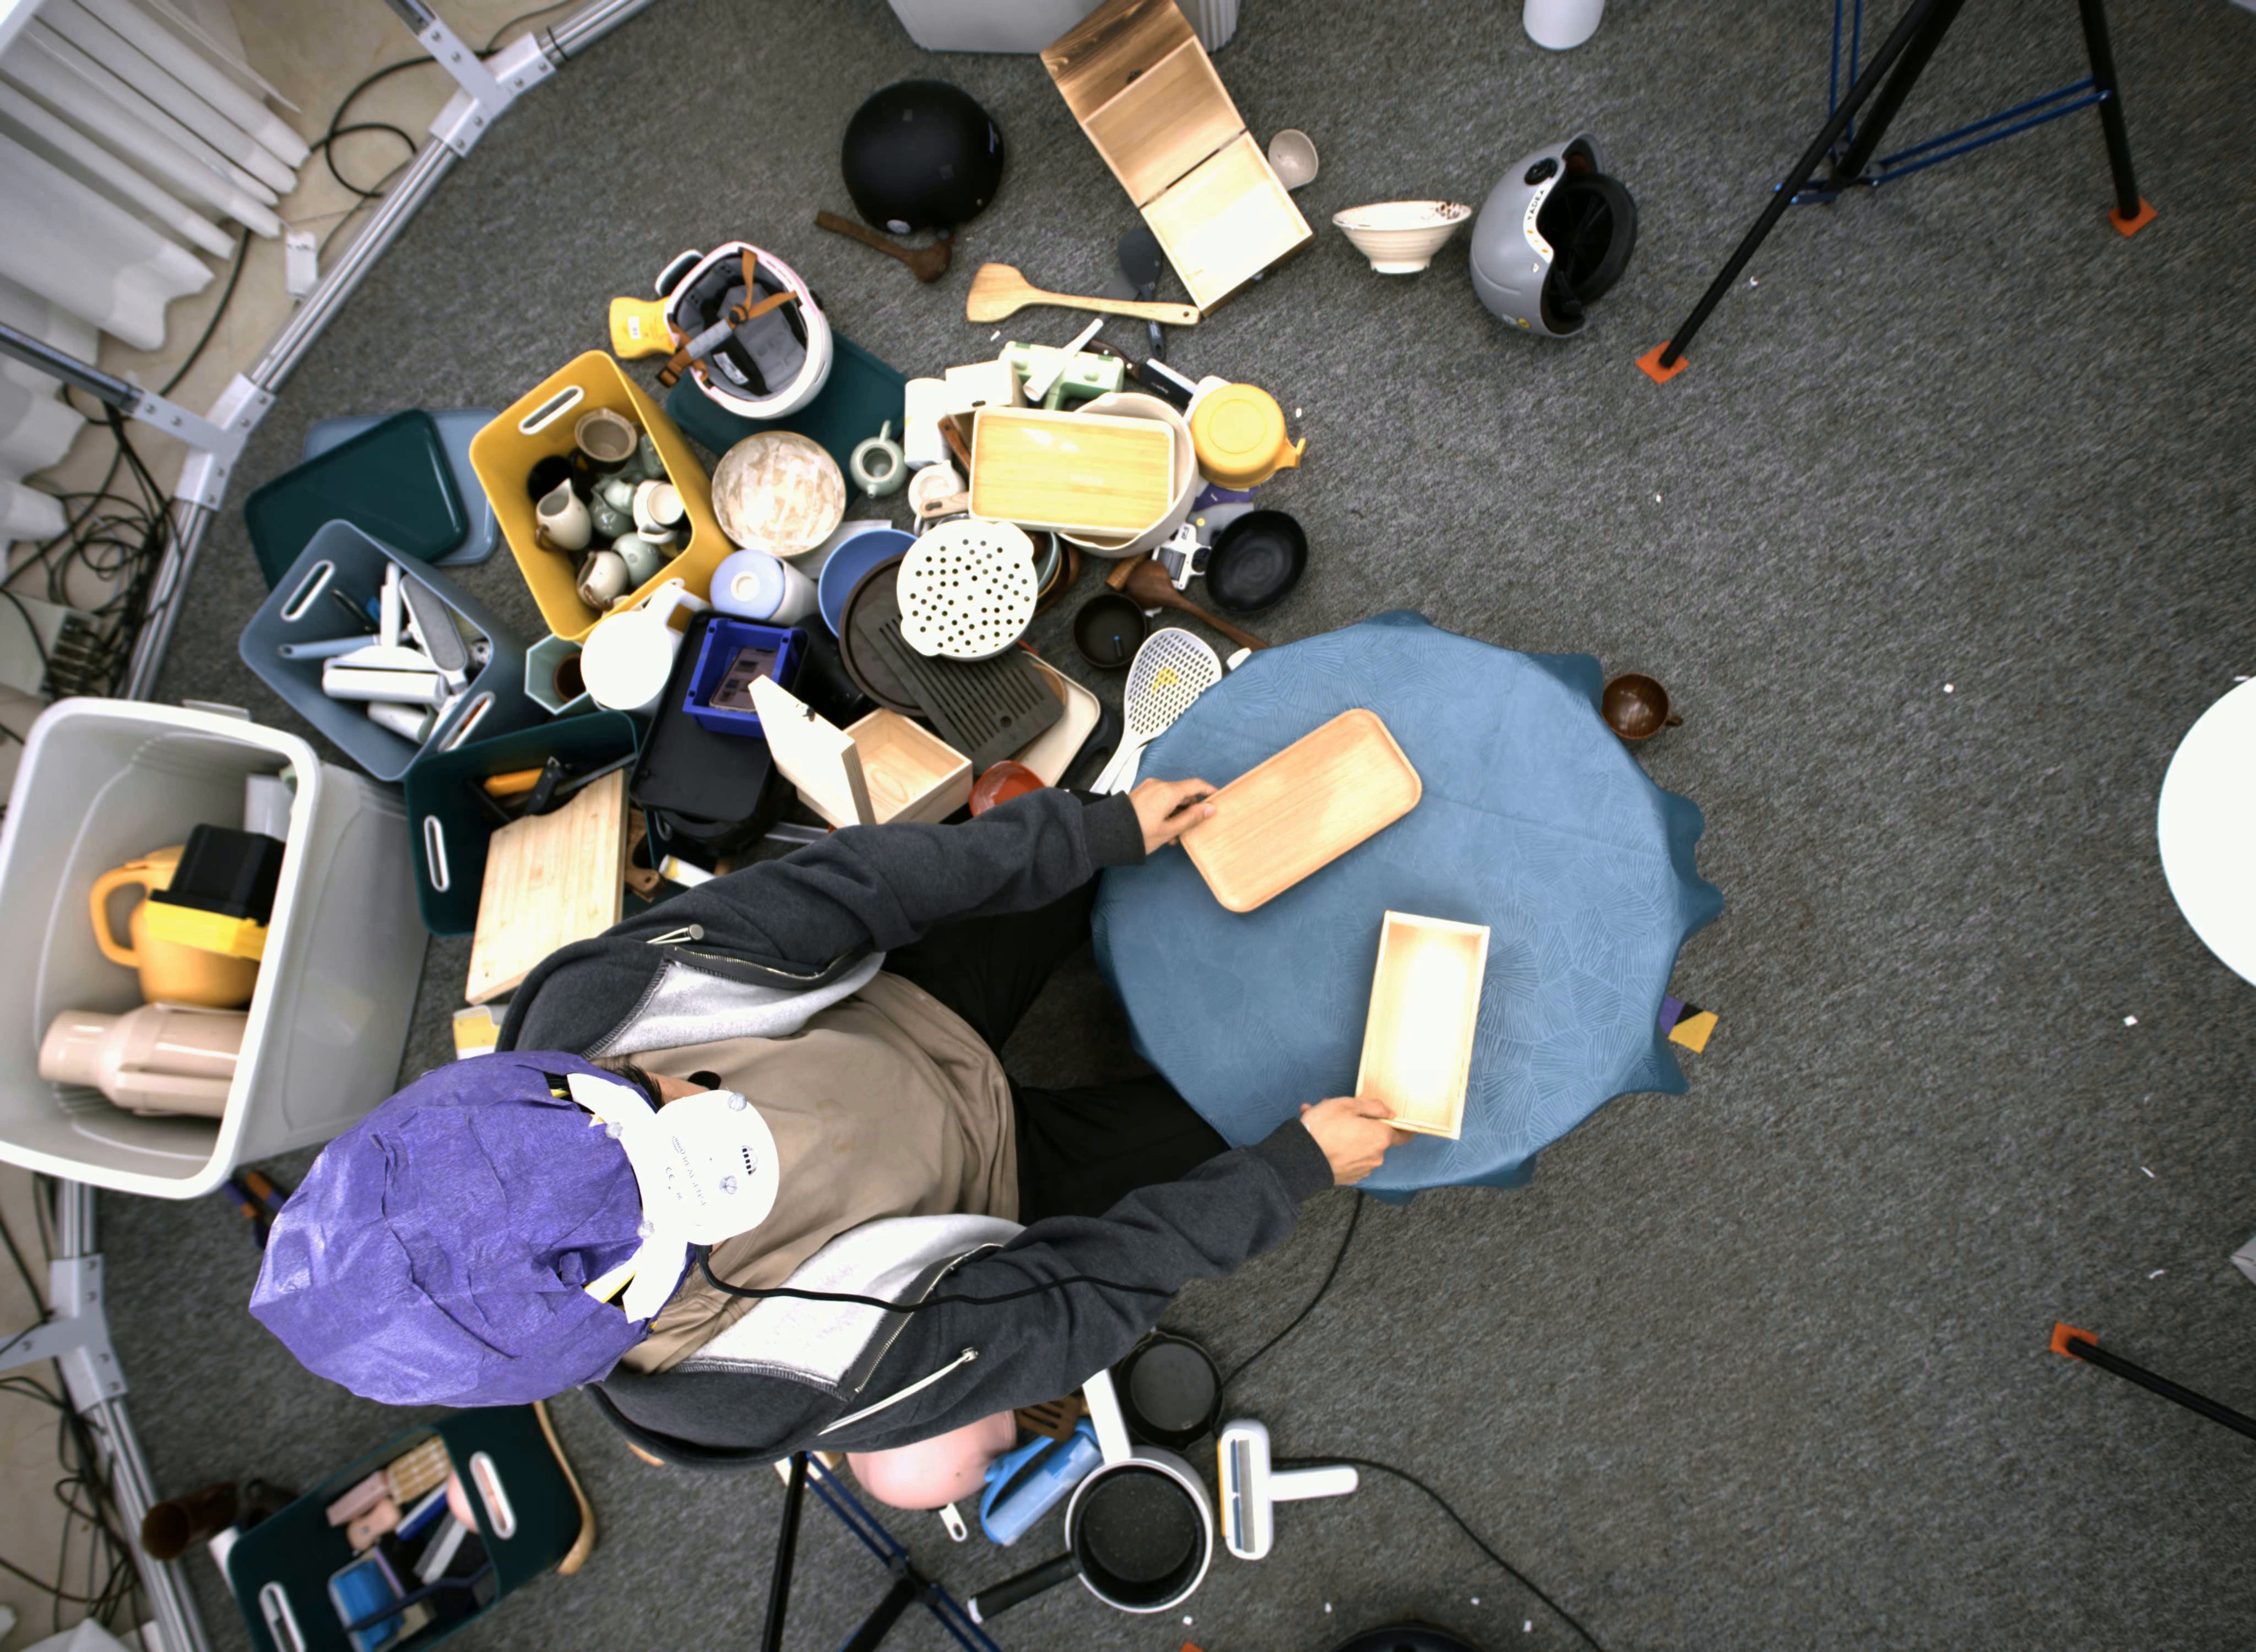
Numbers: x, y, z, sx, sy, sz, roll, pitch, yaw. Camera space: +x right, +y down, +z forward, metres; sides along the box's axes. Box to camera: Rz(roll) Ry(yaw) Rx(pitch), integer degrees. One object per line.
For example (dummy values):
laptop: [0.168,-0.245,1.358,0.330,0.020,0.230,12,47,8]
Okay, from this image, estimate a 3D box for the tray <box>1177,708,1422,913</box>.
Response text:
tray: [0.180,-0.017,1.458,0.251,0.023,0.129,-32,79,1]

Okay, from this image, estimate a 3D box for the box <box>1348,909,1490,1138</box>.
box: [0.295,0.198,1.403,0.108,0.080,0.210,9,86,11]
